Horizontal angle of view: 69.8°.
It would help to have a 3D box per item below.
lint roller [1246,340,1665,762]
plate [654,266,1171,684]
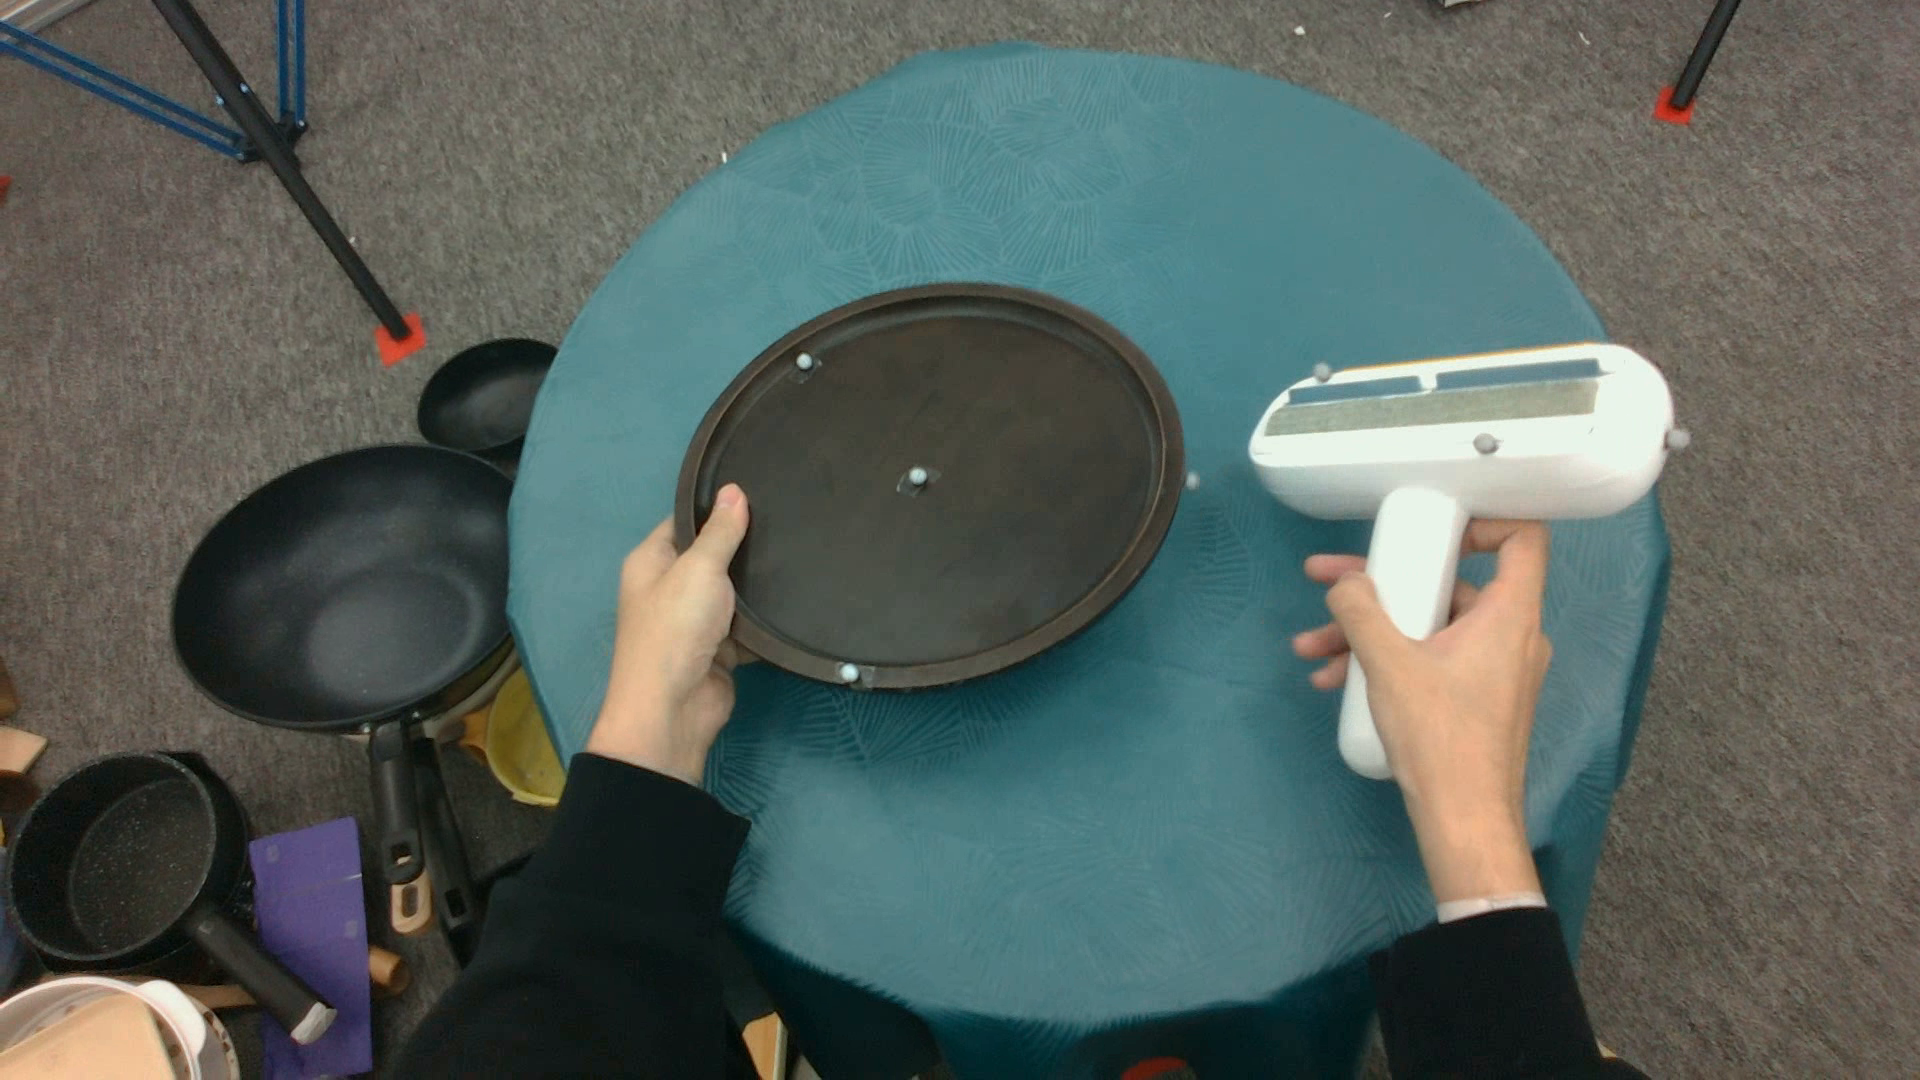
[{"bbox_3d":[0.191,0.001,0.603,0.192,0.074,0.193,10,68,51],"label":"lint roller"},{"bbox_3d":[-0.025,-0.040,0.675,0.254,0.029,0.256,-5,56,7],"label":"plate"}]
